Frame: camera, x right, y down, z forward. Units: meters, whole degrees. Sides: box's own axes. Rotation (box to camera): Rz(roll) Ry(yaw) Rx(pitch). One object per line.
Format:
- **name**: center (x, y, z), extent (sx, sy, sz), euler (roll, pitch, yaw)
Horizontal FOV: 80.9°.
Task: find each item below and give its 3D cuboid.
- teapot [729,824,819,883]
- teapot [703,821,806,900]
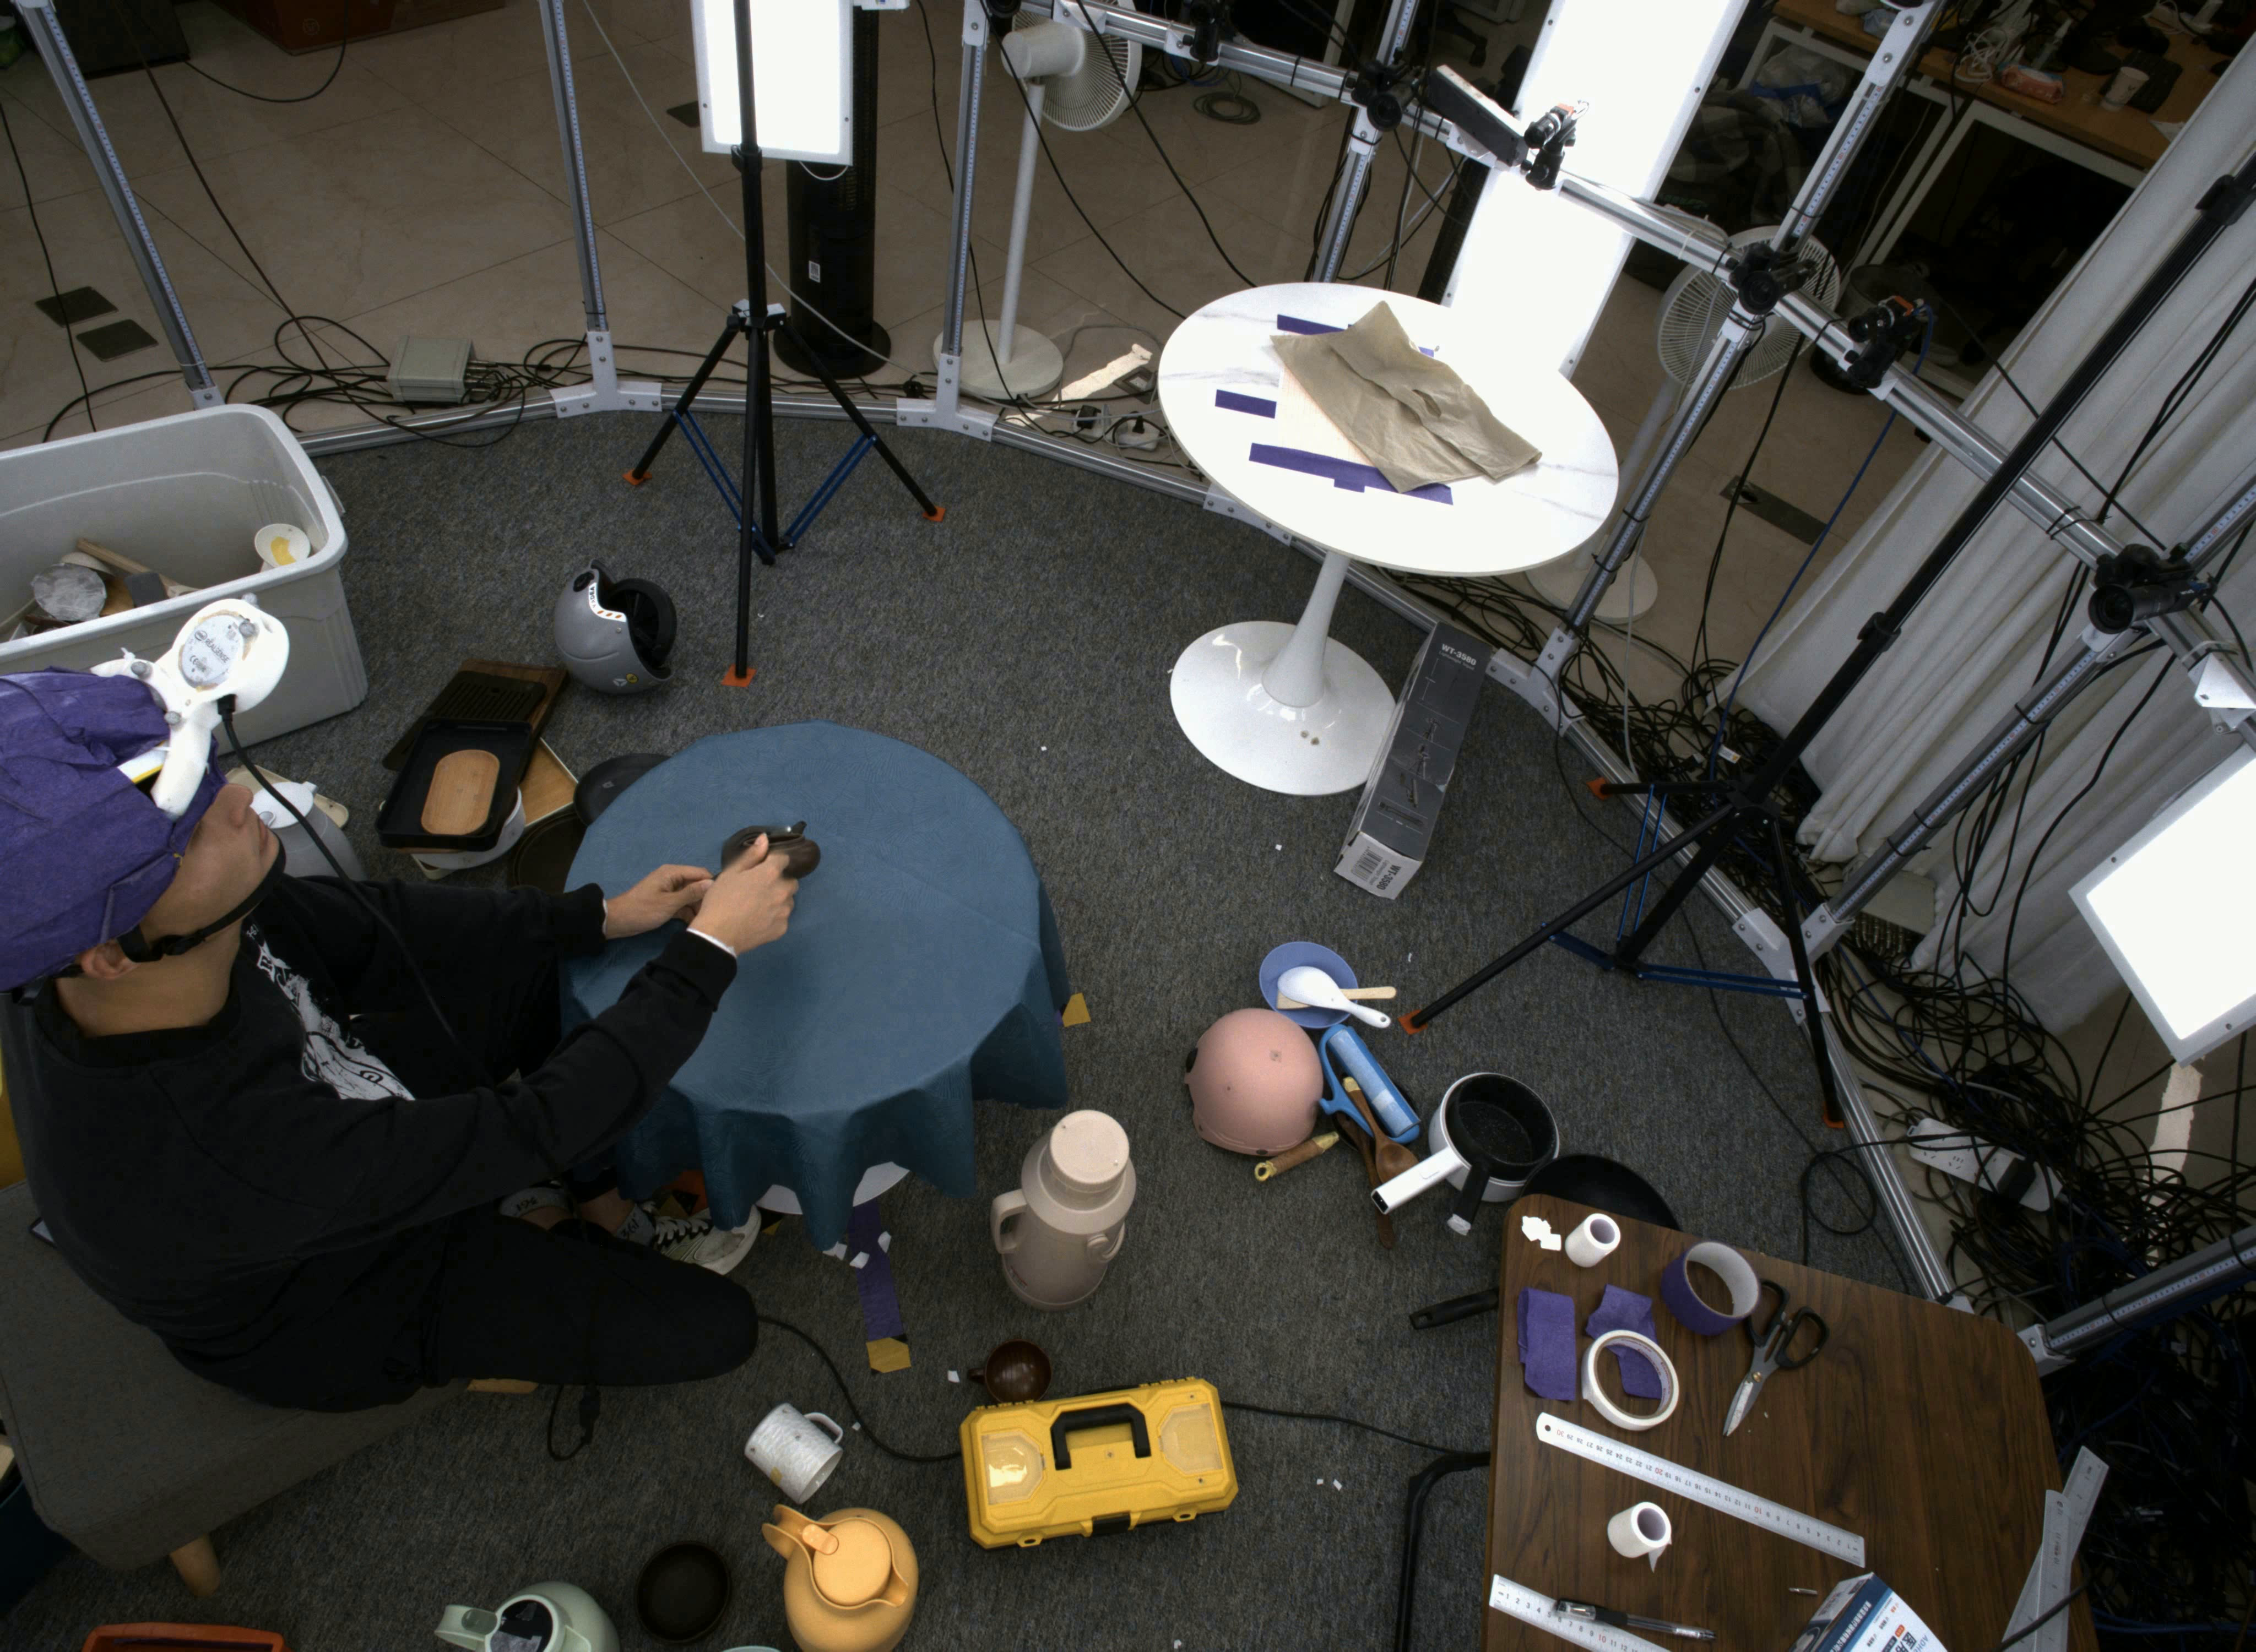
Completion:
- **teapot**: center (-0.409, 0.032, 1.498), extent (0.102, 0.150, 0.055), euler (-10, 99, -12)
- **teapot**: center (-0.465, 0.045, 1.619), extent (0.090, 0.066, 0.154), euler (43, 57, 18)
